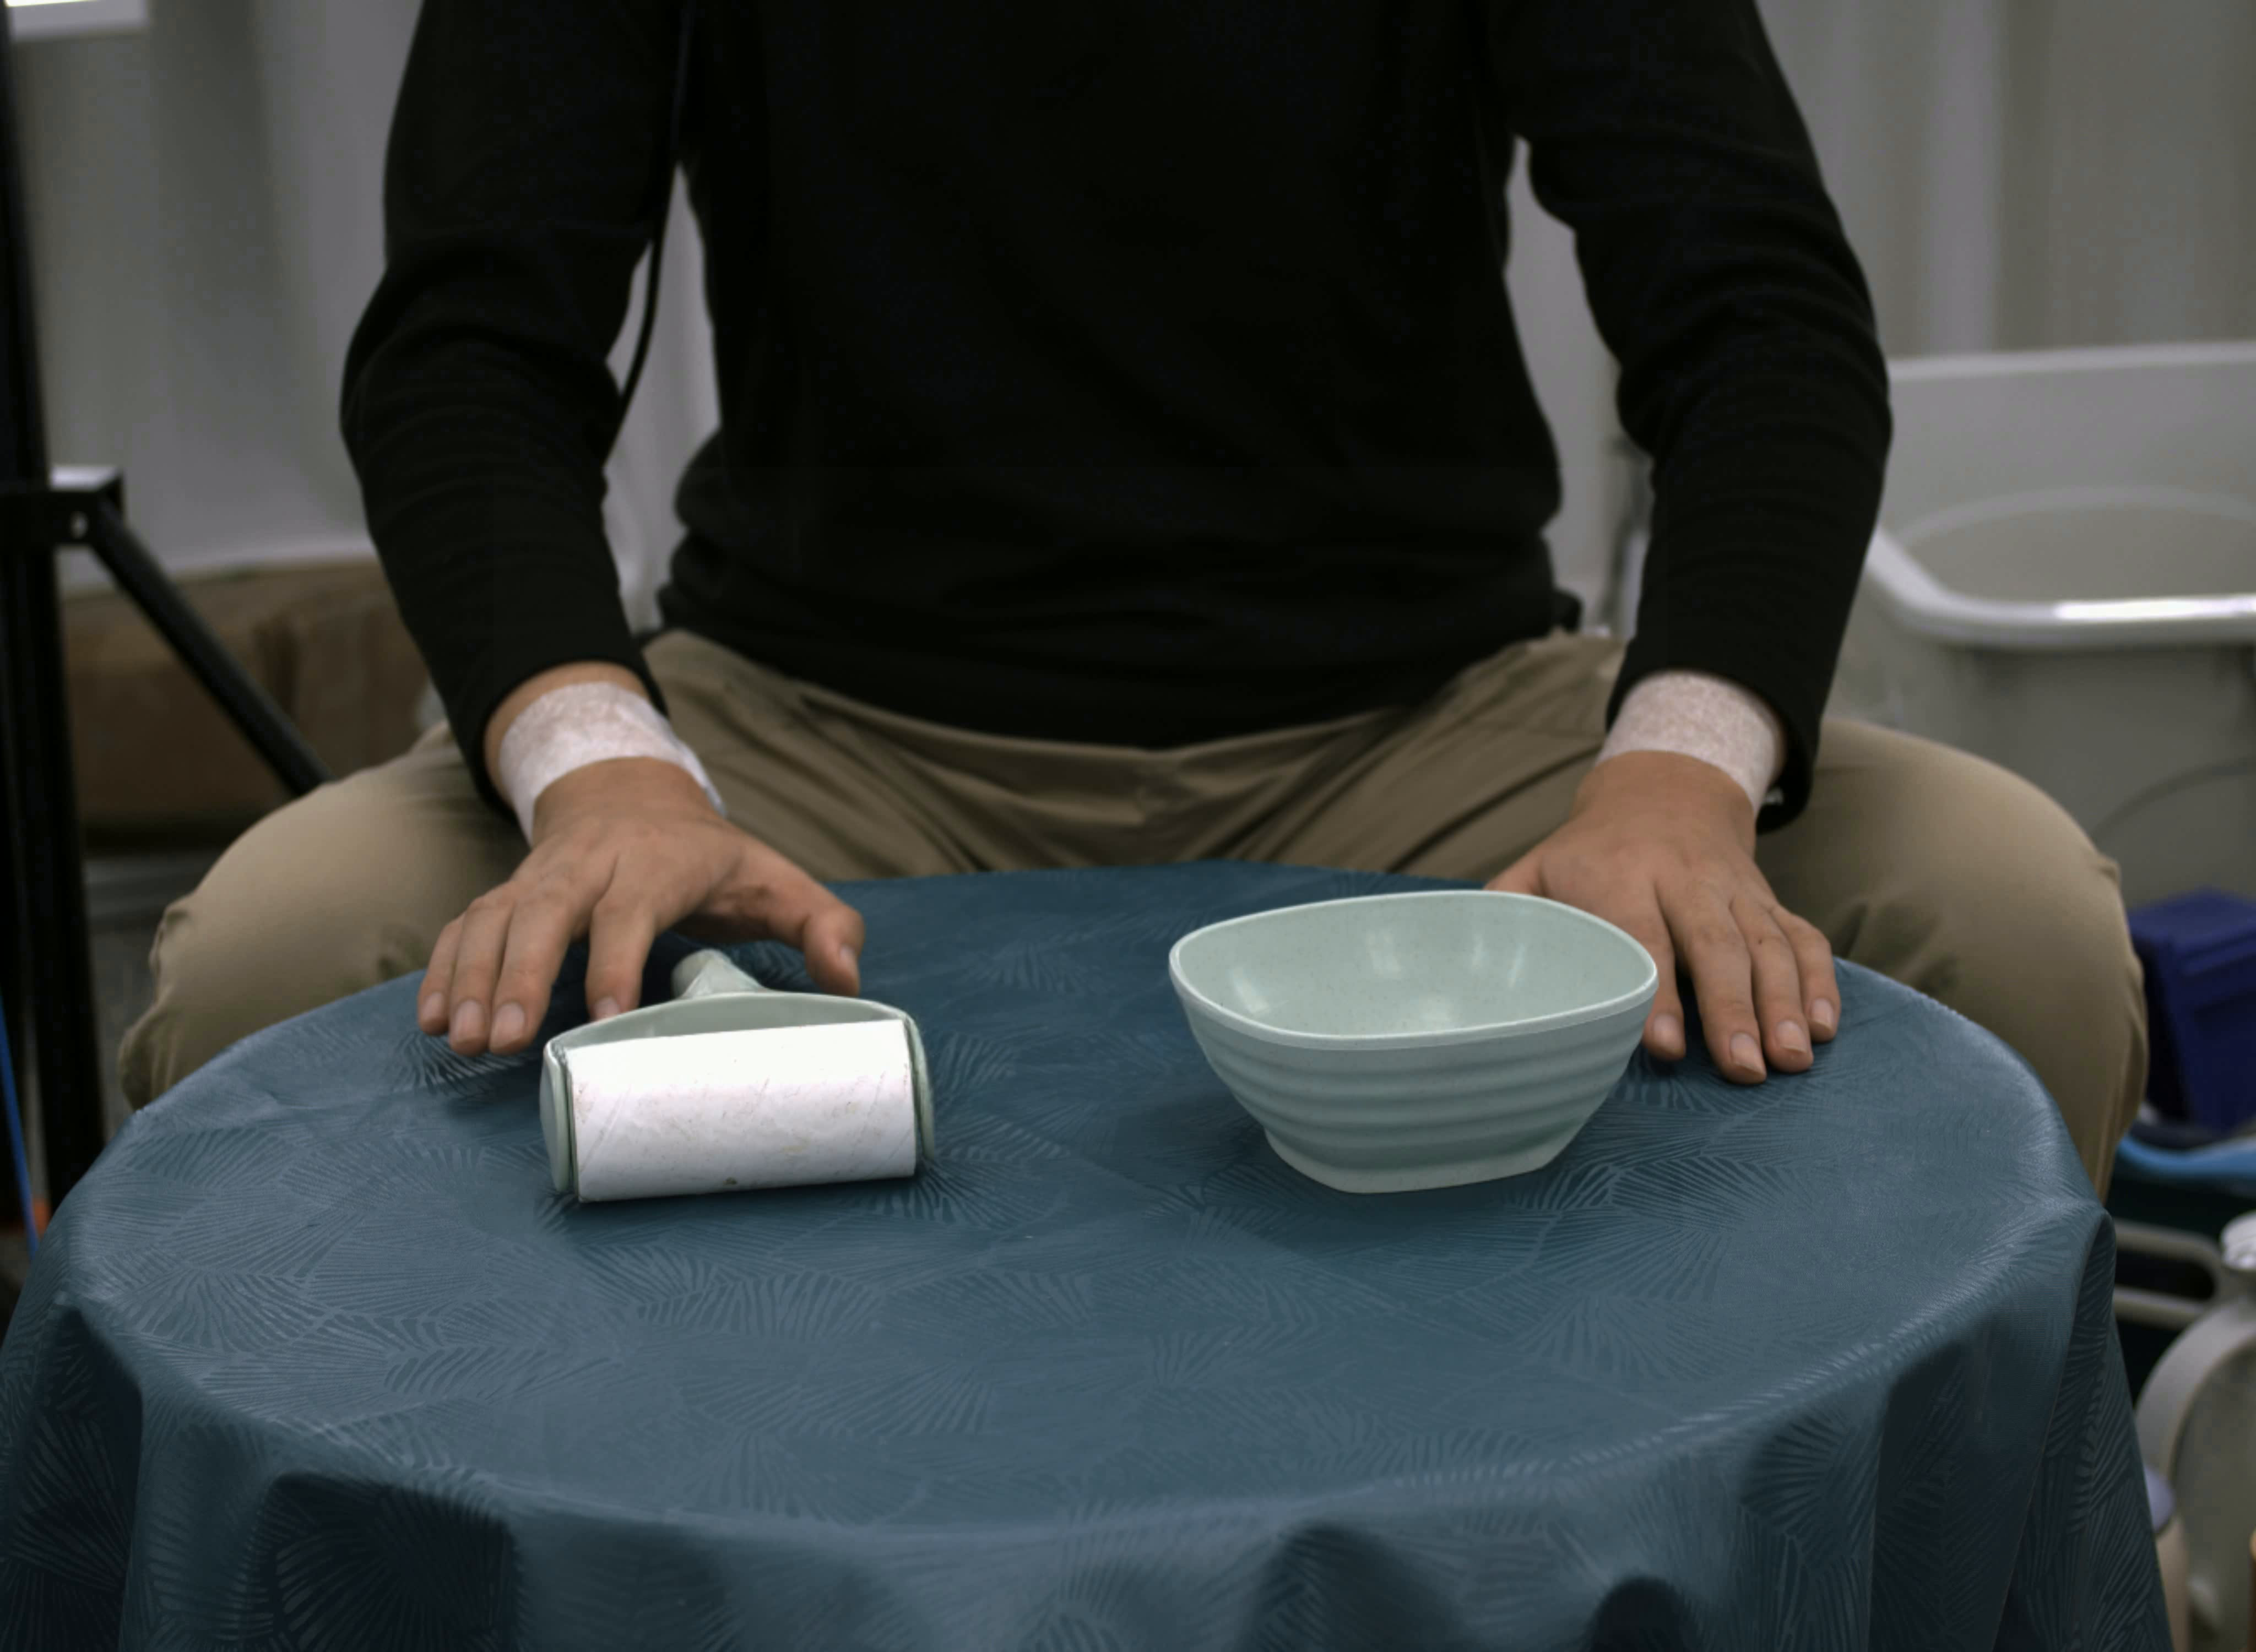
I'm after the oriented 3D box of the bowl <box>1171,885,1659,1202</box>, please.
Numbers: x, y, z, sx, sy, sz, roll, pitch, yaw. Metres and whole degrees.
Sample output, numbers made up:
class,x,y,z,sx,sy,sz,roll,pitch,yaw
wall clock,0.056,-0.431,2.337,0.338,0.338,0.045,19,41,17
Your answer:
class,x,y,z,sx,sy,sz,roll,pitch,yaw
bowl,0.086,0.068,1.581,0.151,0.058,0.152,-3,17,0

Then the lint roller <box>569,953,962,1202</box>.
class,x,y,z,sx,sy,sz,roll,pitch,yaw
lint roller,-0.117,0.066,1.646,0.115,0.048,0.199,-6,15,-7
